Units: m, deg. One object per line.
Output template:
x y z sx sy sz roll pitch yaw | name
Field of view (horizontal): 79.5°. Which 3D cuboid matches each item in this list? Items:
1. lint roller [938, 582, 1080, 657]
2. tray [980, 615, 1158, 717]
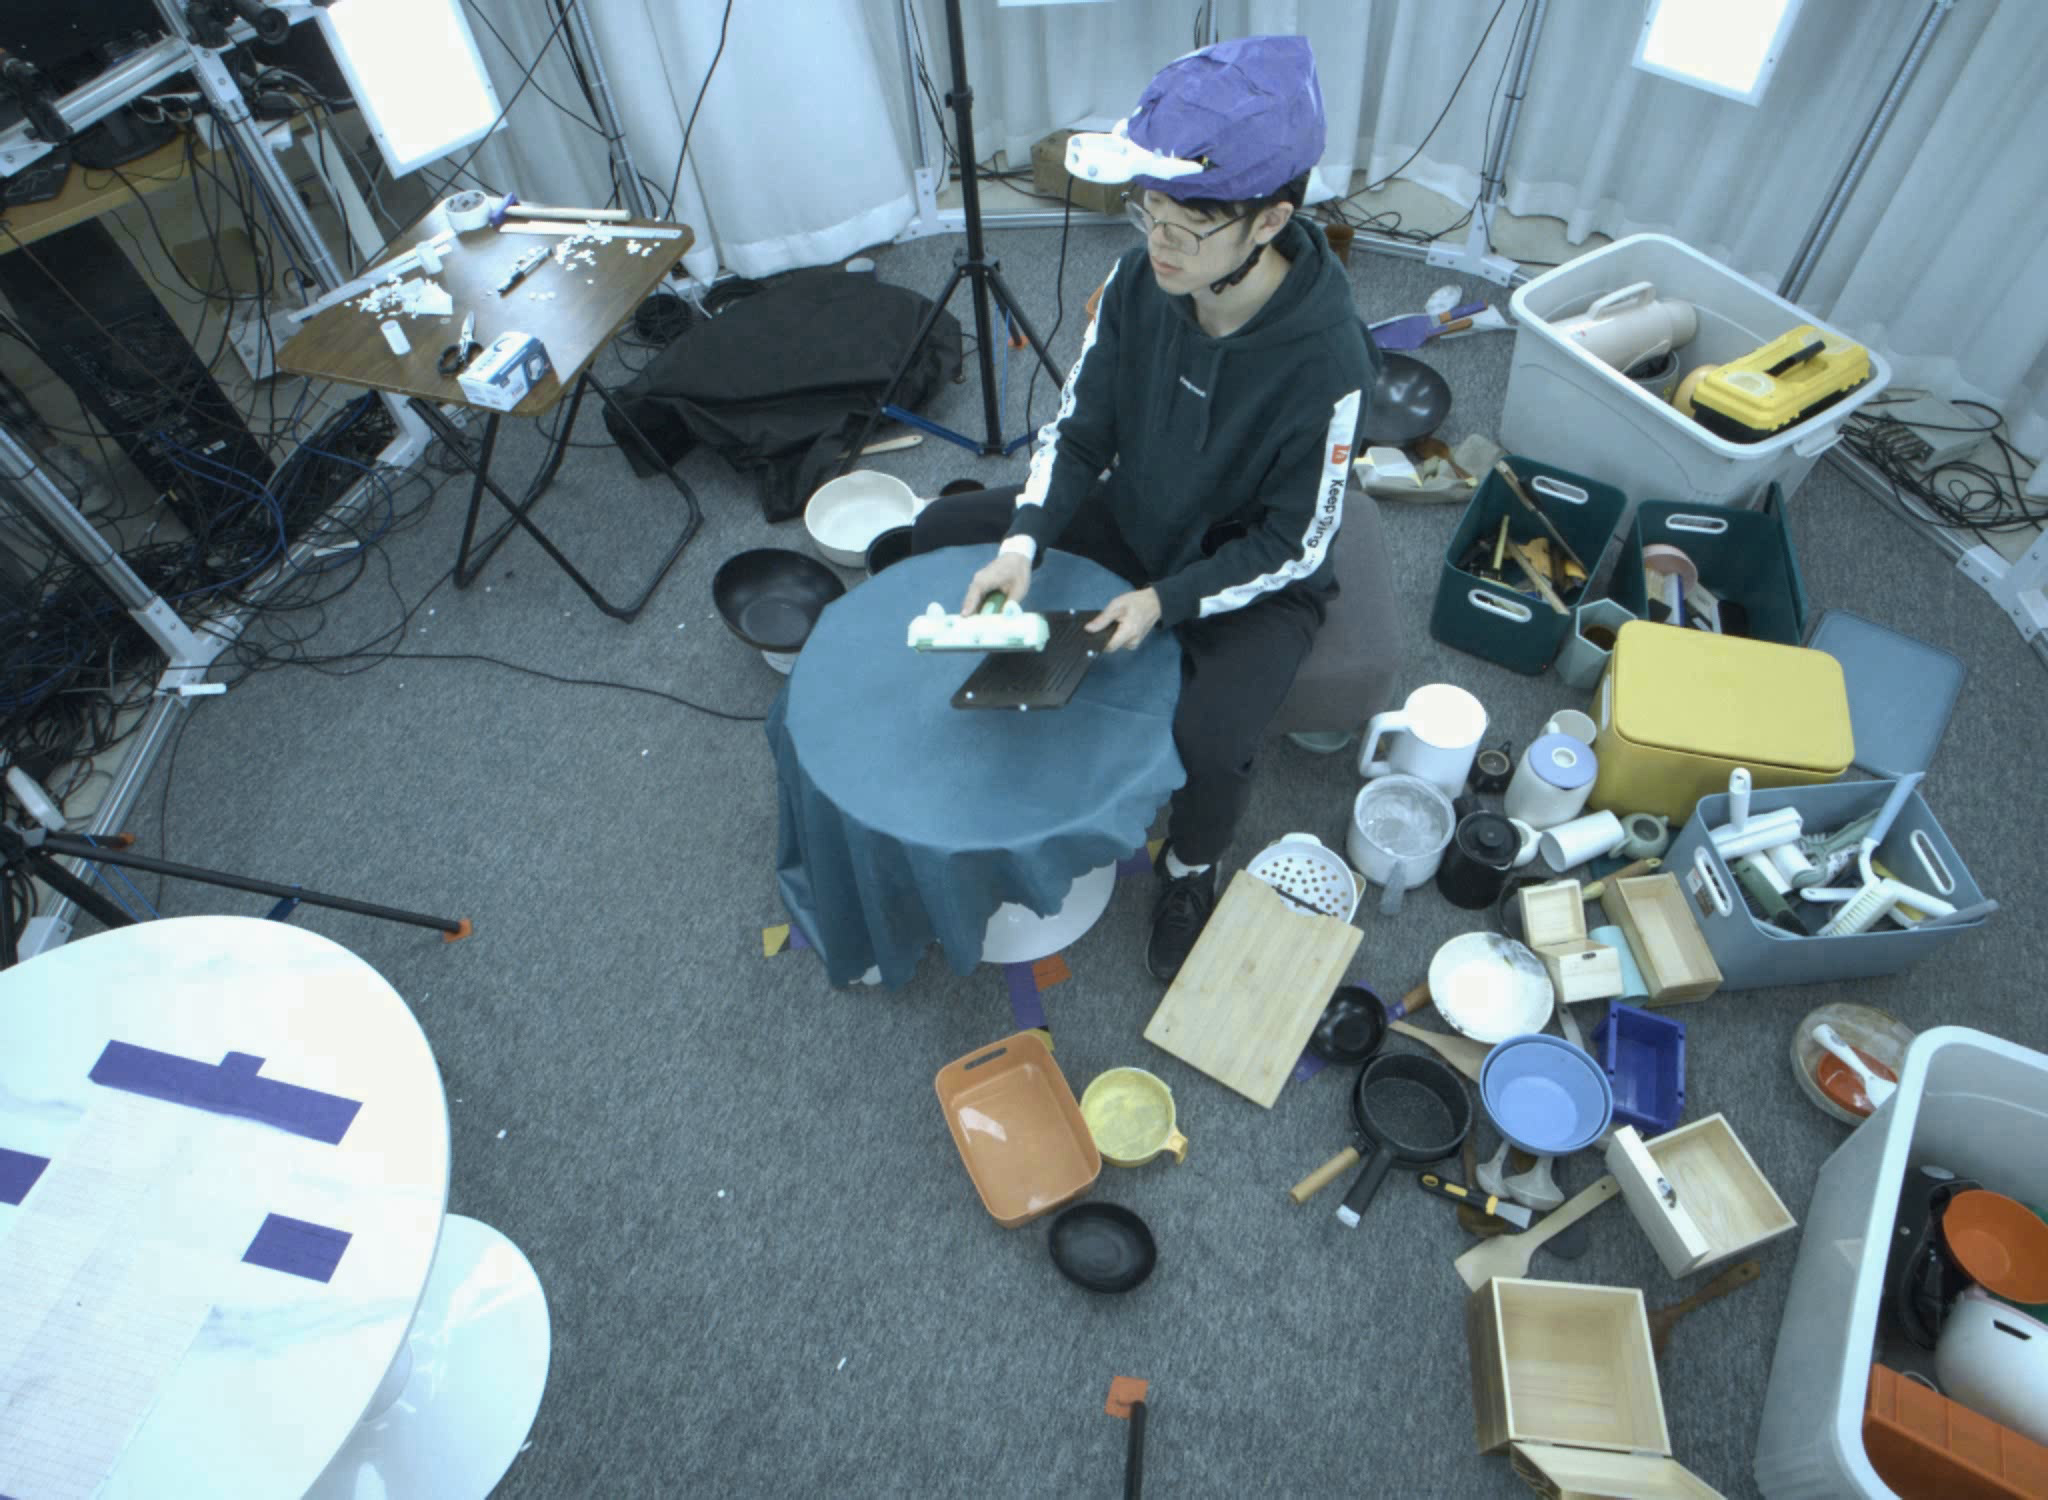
-0.008 -0.205 1.755 0.196 0.083 0.183 3 46 20 | lint roller
0.071 -0.122 1.743 0.167 0.019 0.307 3 31 23 | tray
